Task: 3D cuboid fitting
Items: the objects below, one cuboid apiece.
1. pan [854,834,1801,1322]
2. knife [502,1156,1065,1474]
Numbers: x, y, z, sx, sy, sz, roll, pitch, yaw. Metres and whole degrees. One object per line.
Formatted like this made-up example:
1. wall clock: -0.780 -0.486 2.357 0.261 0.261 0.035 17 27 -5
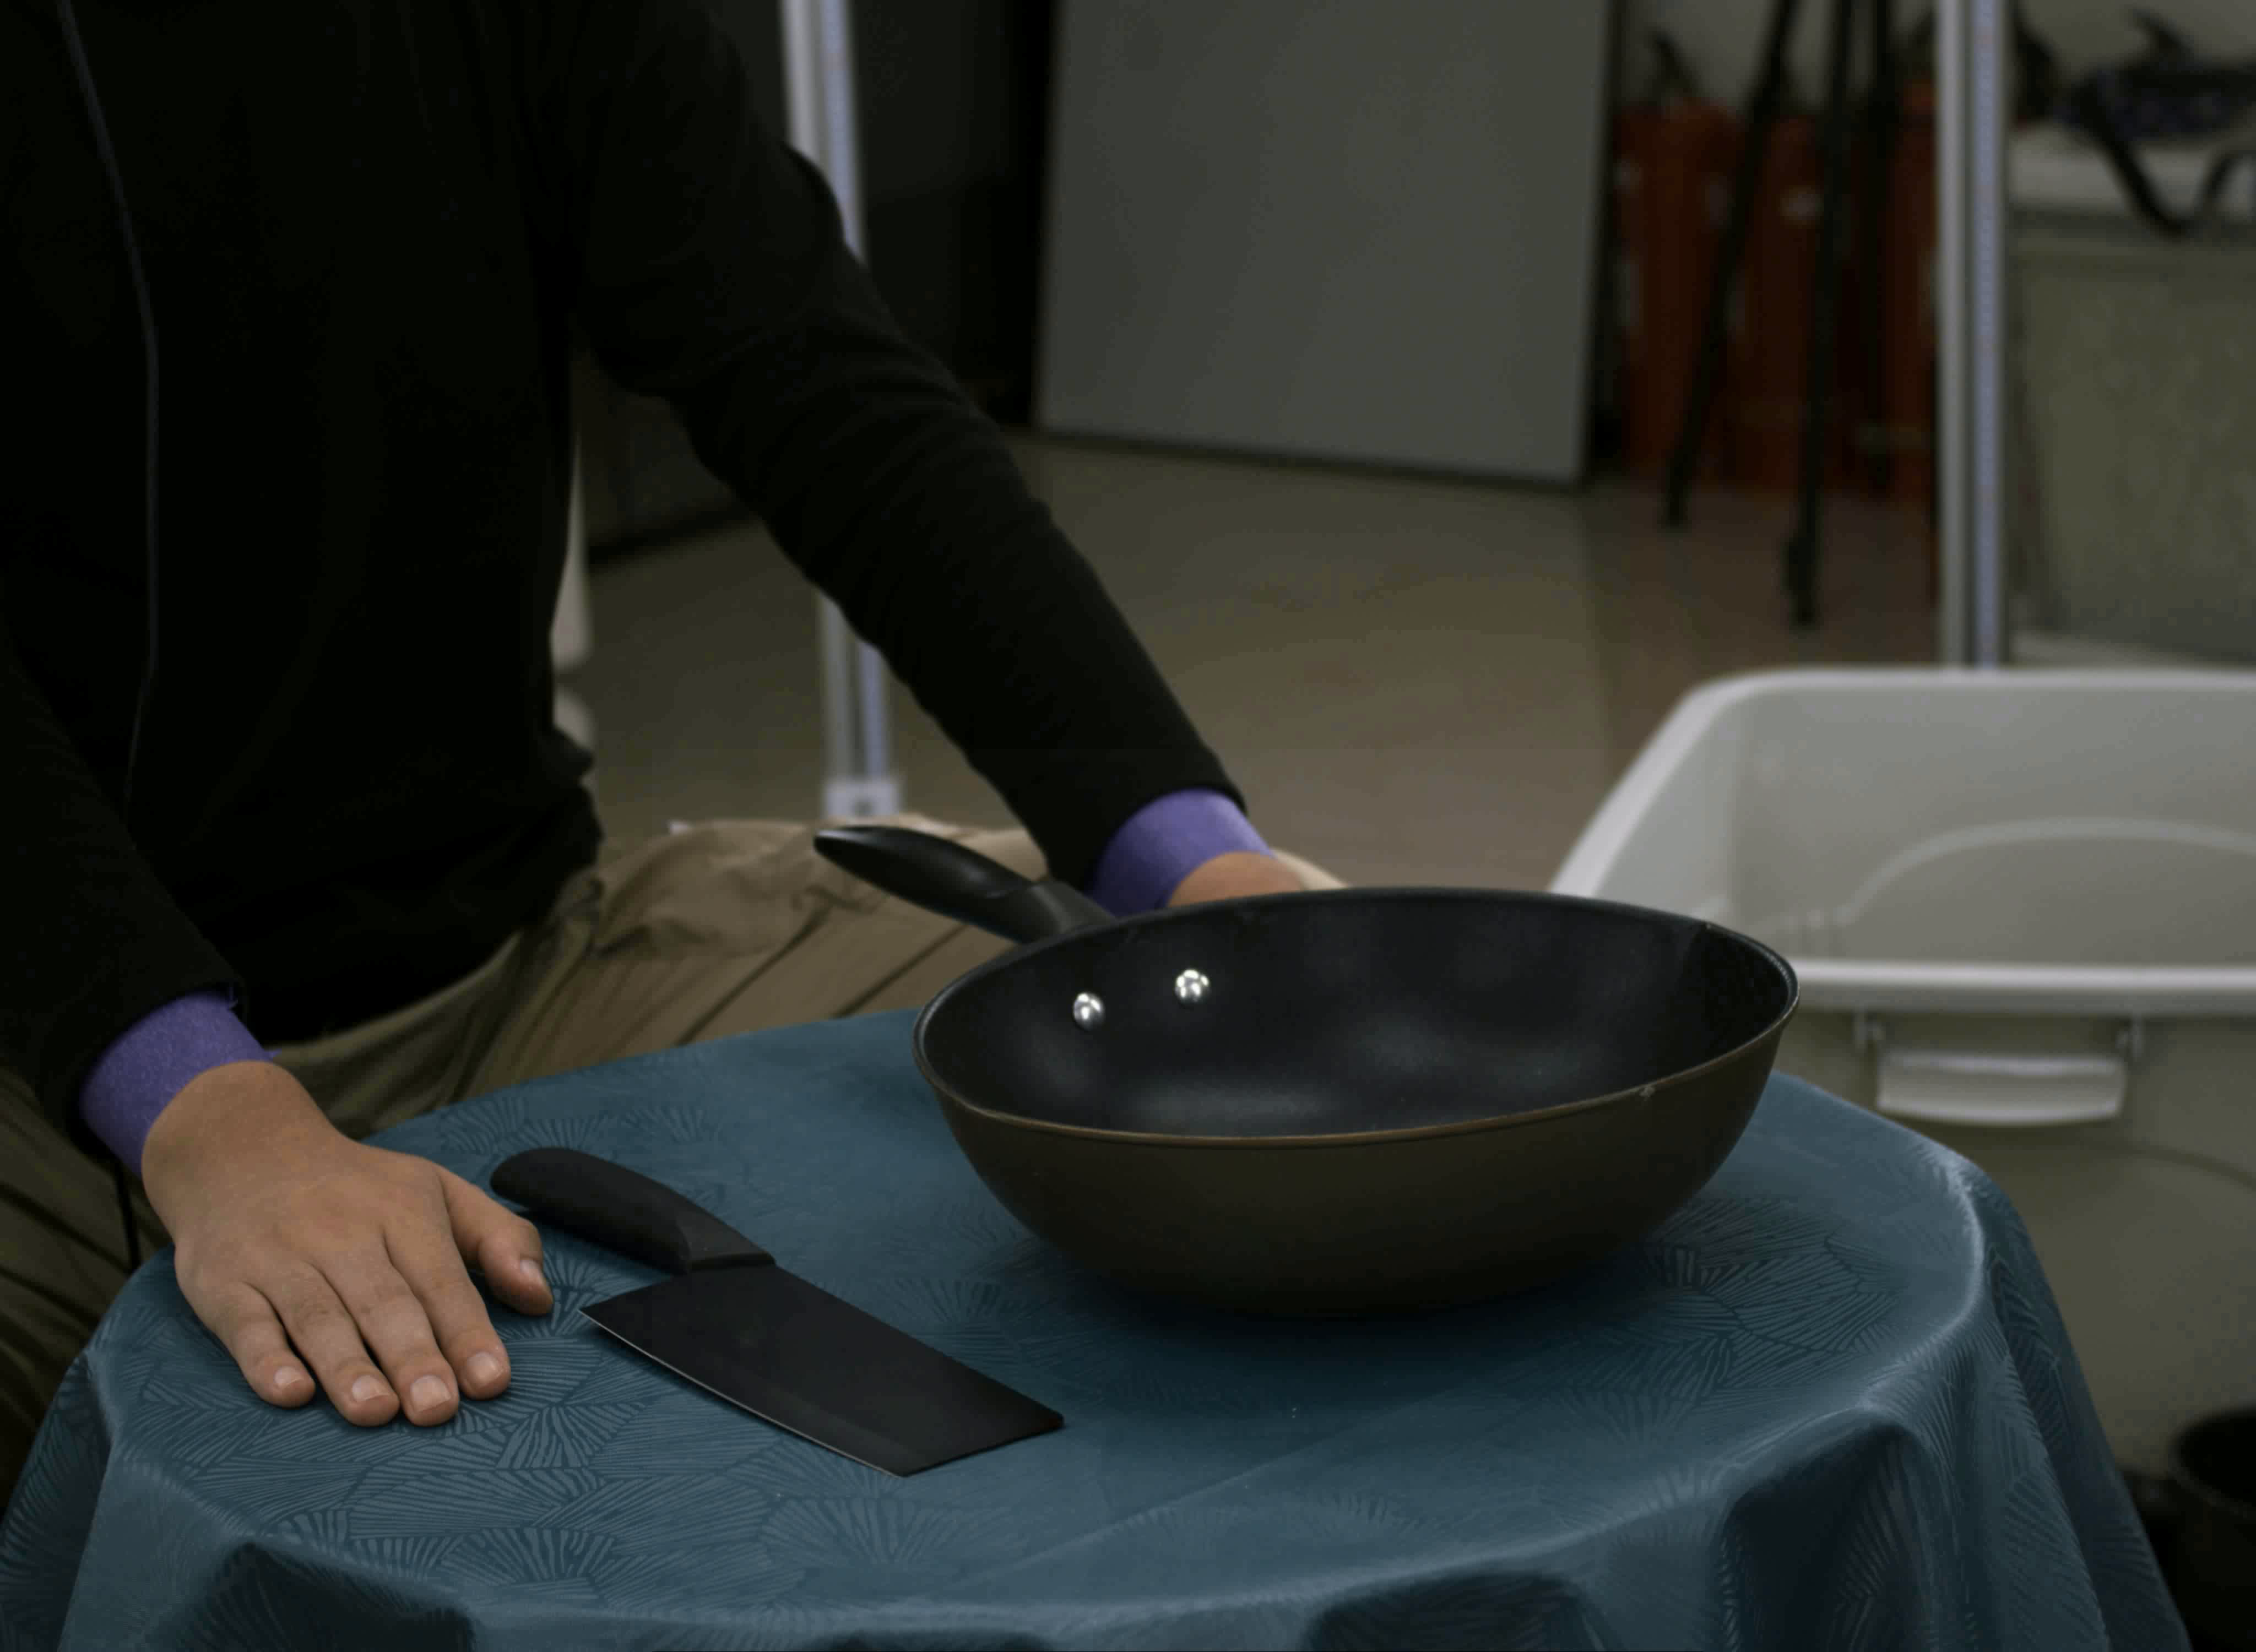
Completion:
1. pan: 0.025 0.078 1.771 0.282 0.088 0.468 -12 15 -30
2. knife: -0.122 0.150 1.670 0.079 0.021 0.305 -12 18 -27
